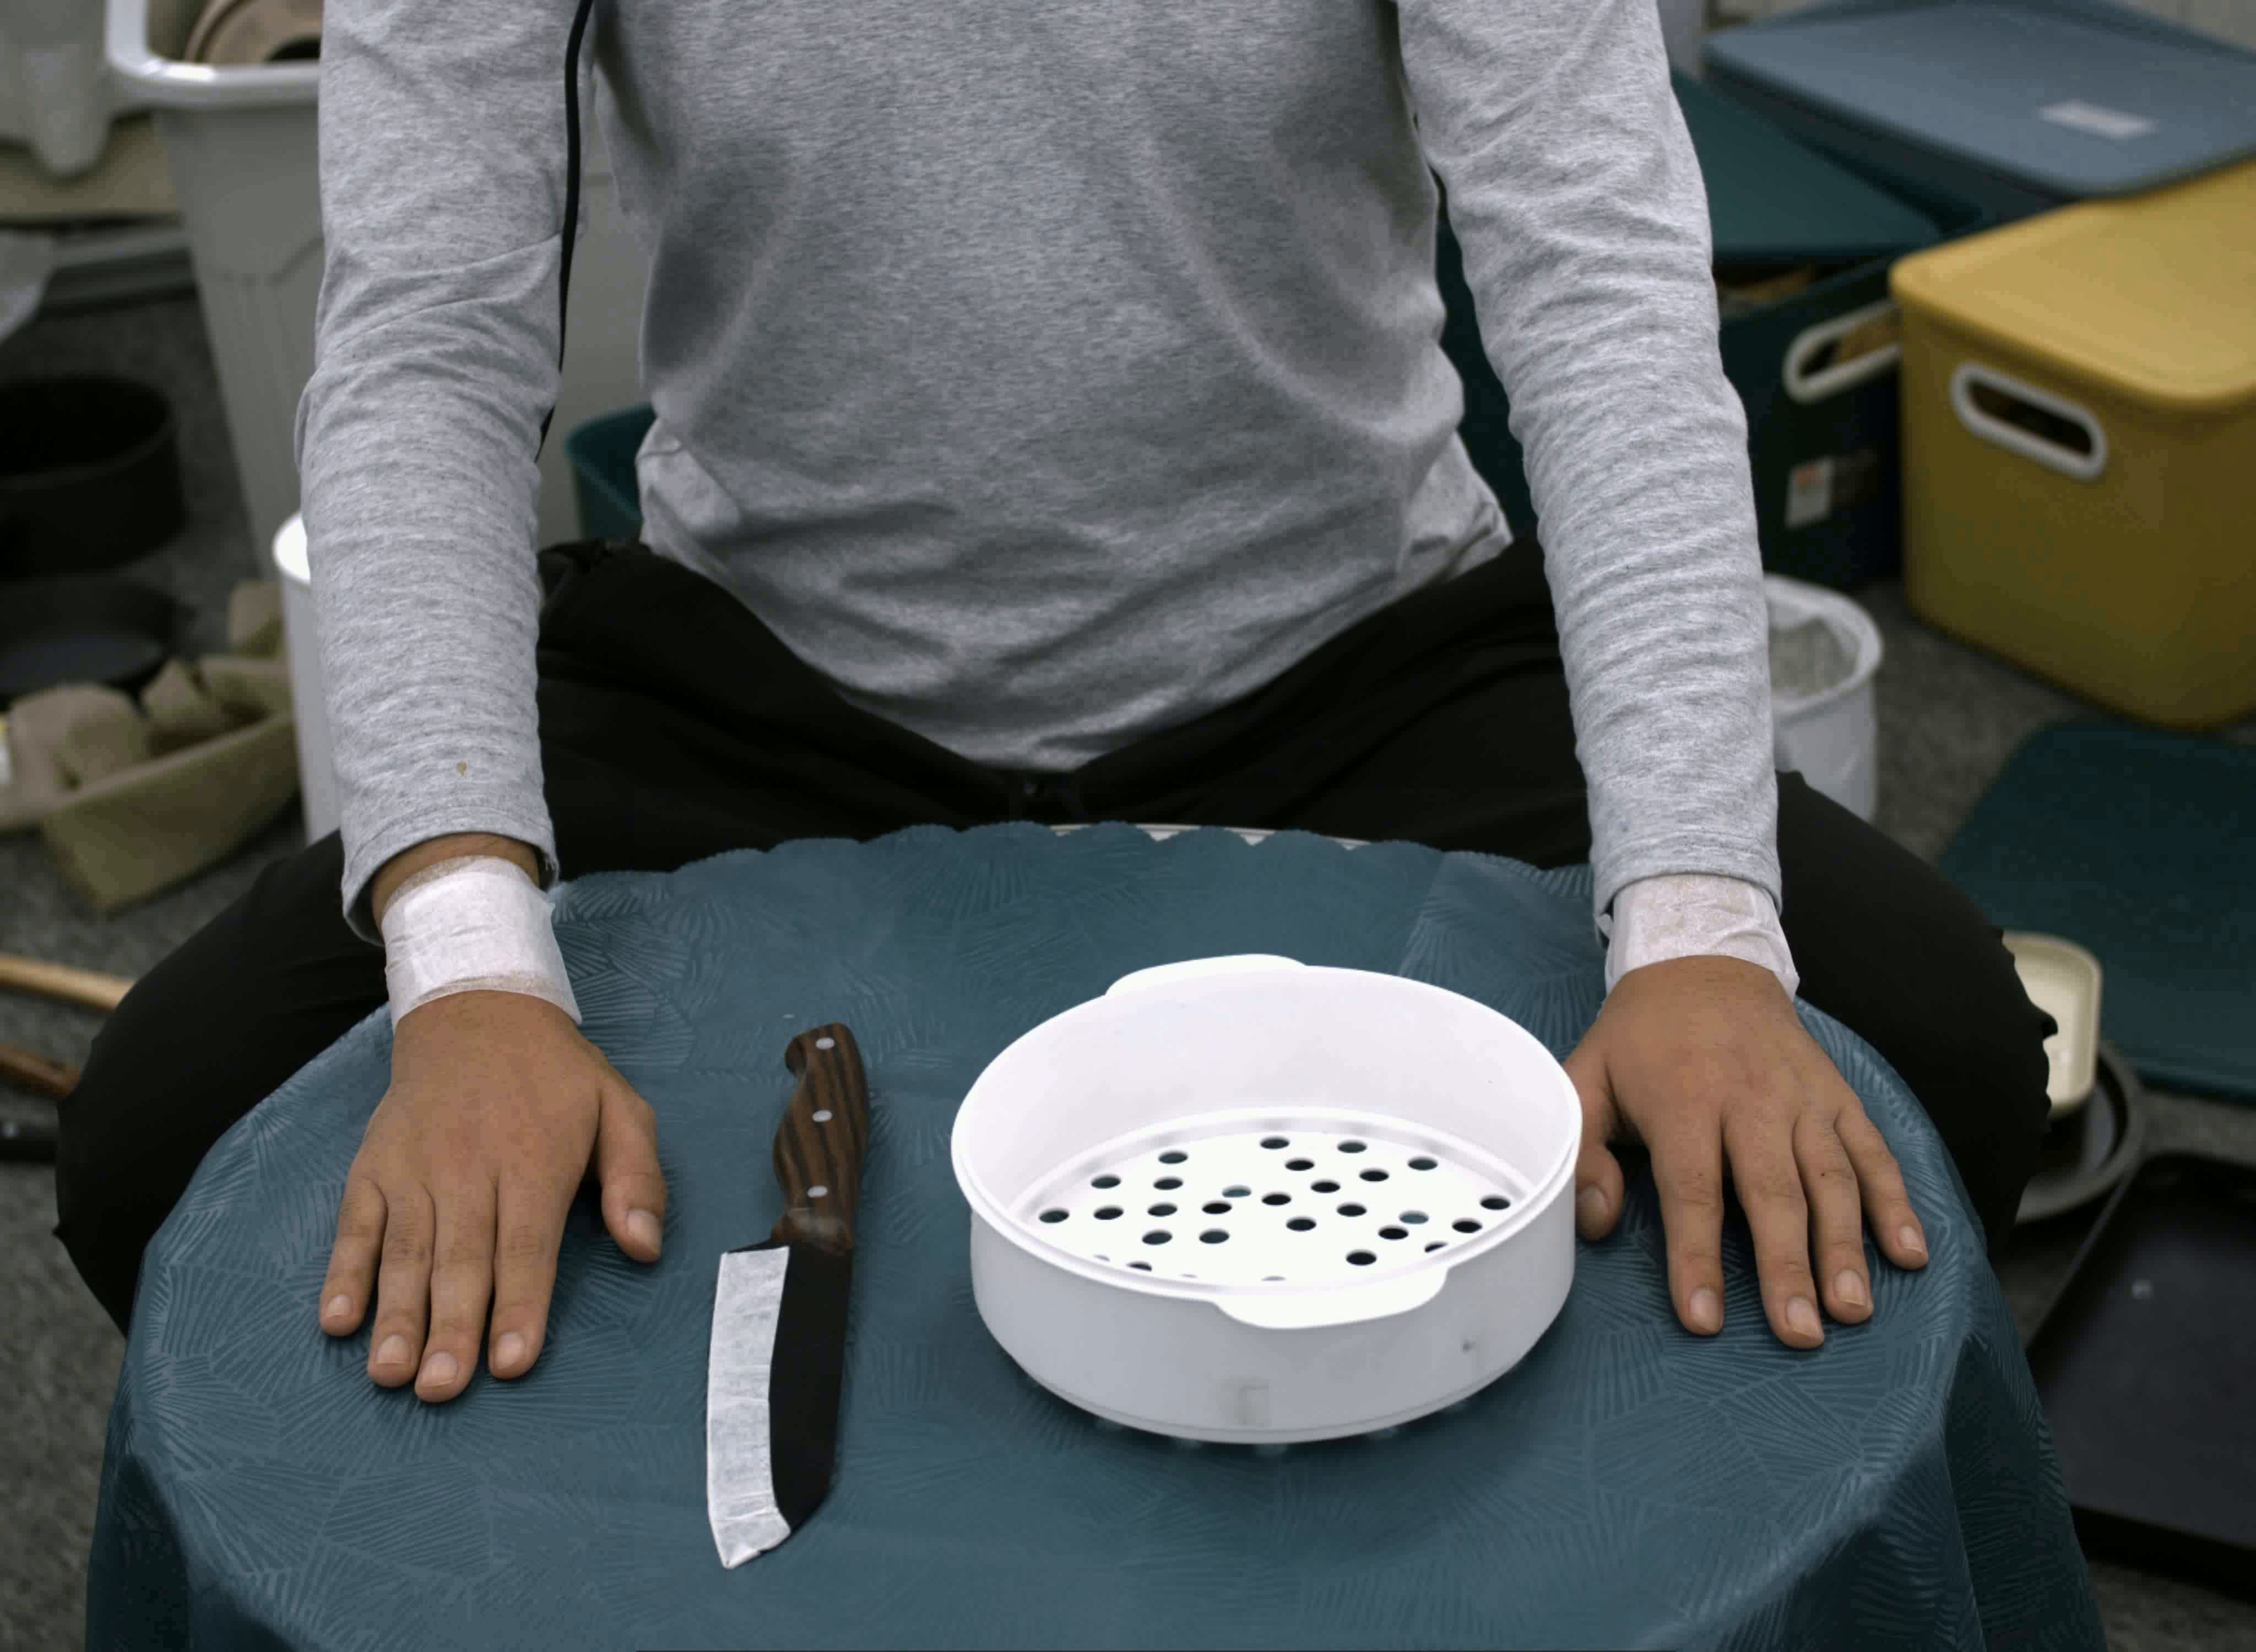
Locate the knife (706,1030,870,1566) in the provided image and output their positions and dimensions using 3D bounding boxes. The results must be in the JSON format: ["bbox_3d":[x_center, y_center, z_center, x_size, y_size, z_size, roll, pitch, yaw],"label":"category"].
[{"bbox_3d":[-0.109,0.149,1.803,0.050,0.020,0.294,-6,29,6],"label":"knife"}]

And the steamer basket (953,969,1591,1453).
[{"bbox_3d":[0.046,0.123,1.782,0.201,0.068,0.233,-7,26,-8],"label":"steamer basket"}]
